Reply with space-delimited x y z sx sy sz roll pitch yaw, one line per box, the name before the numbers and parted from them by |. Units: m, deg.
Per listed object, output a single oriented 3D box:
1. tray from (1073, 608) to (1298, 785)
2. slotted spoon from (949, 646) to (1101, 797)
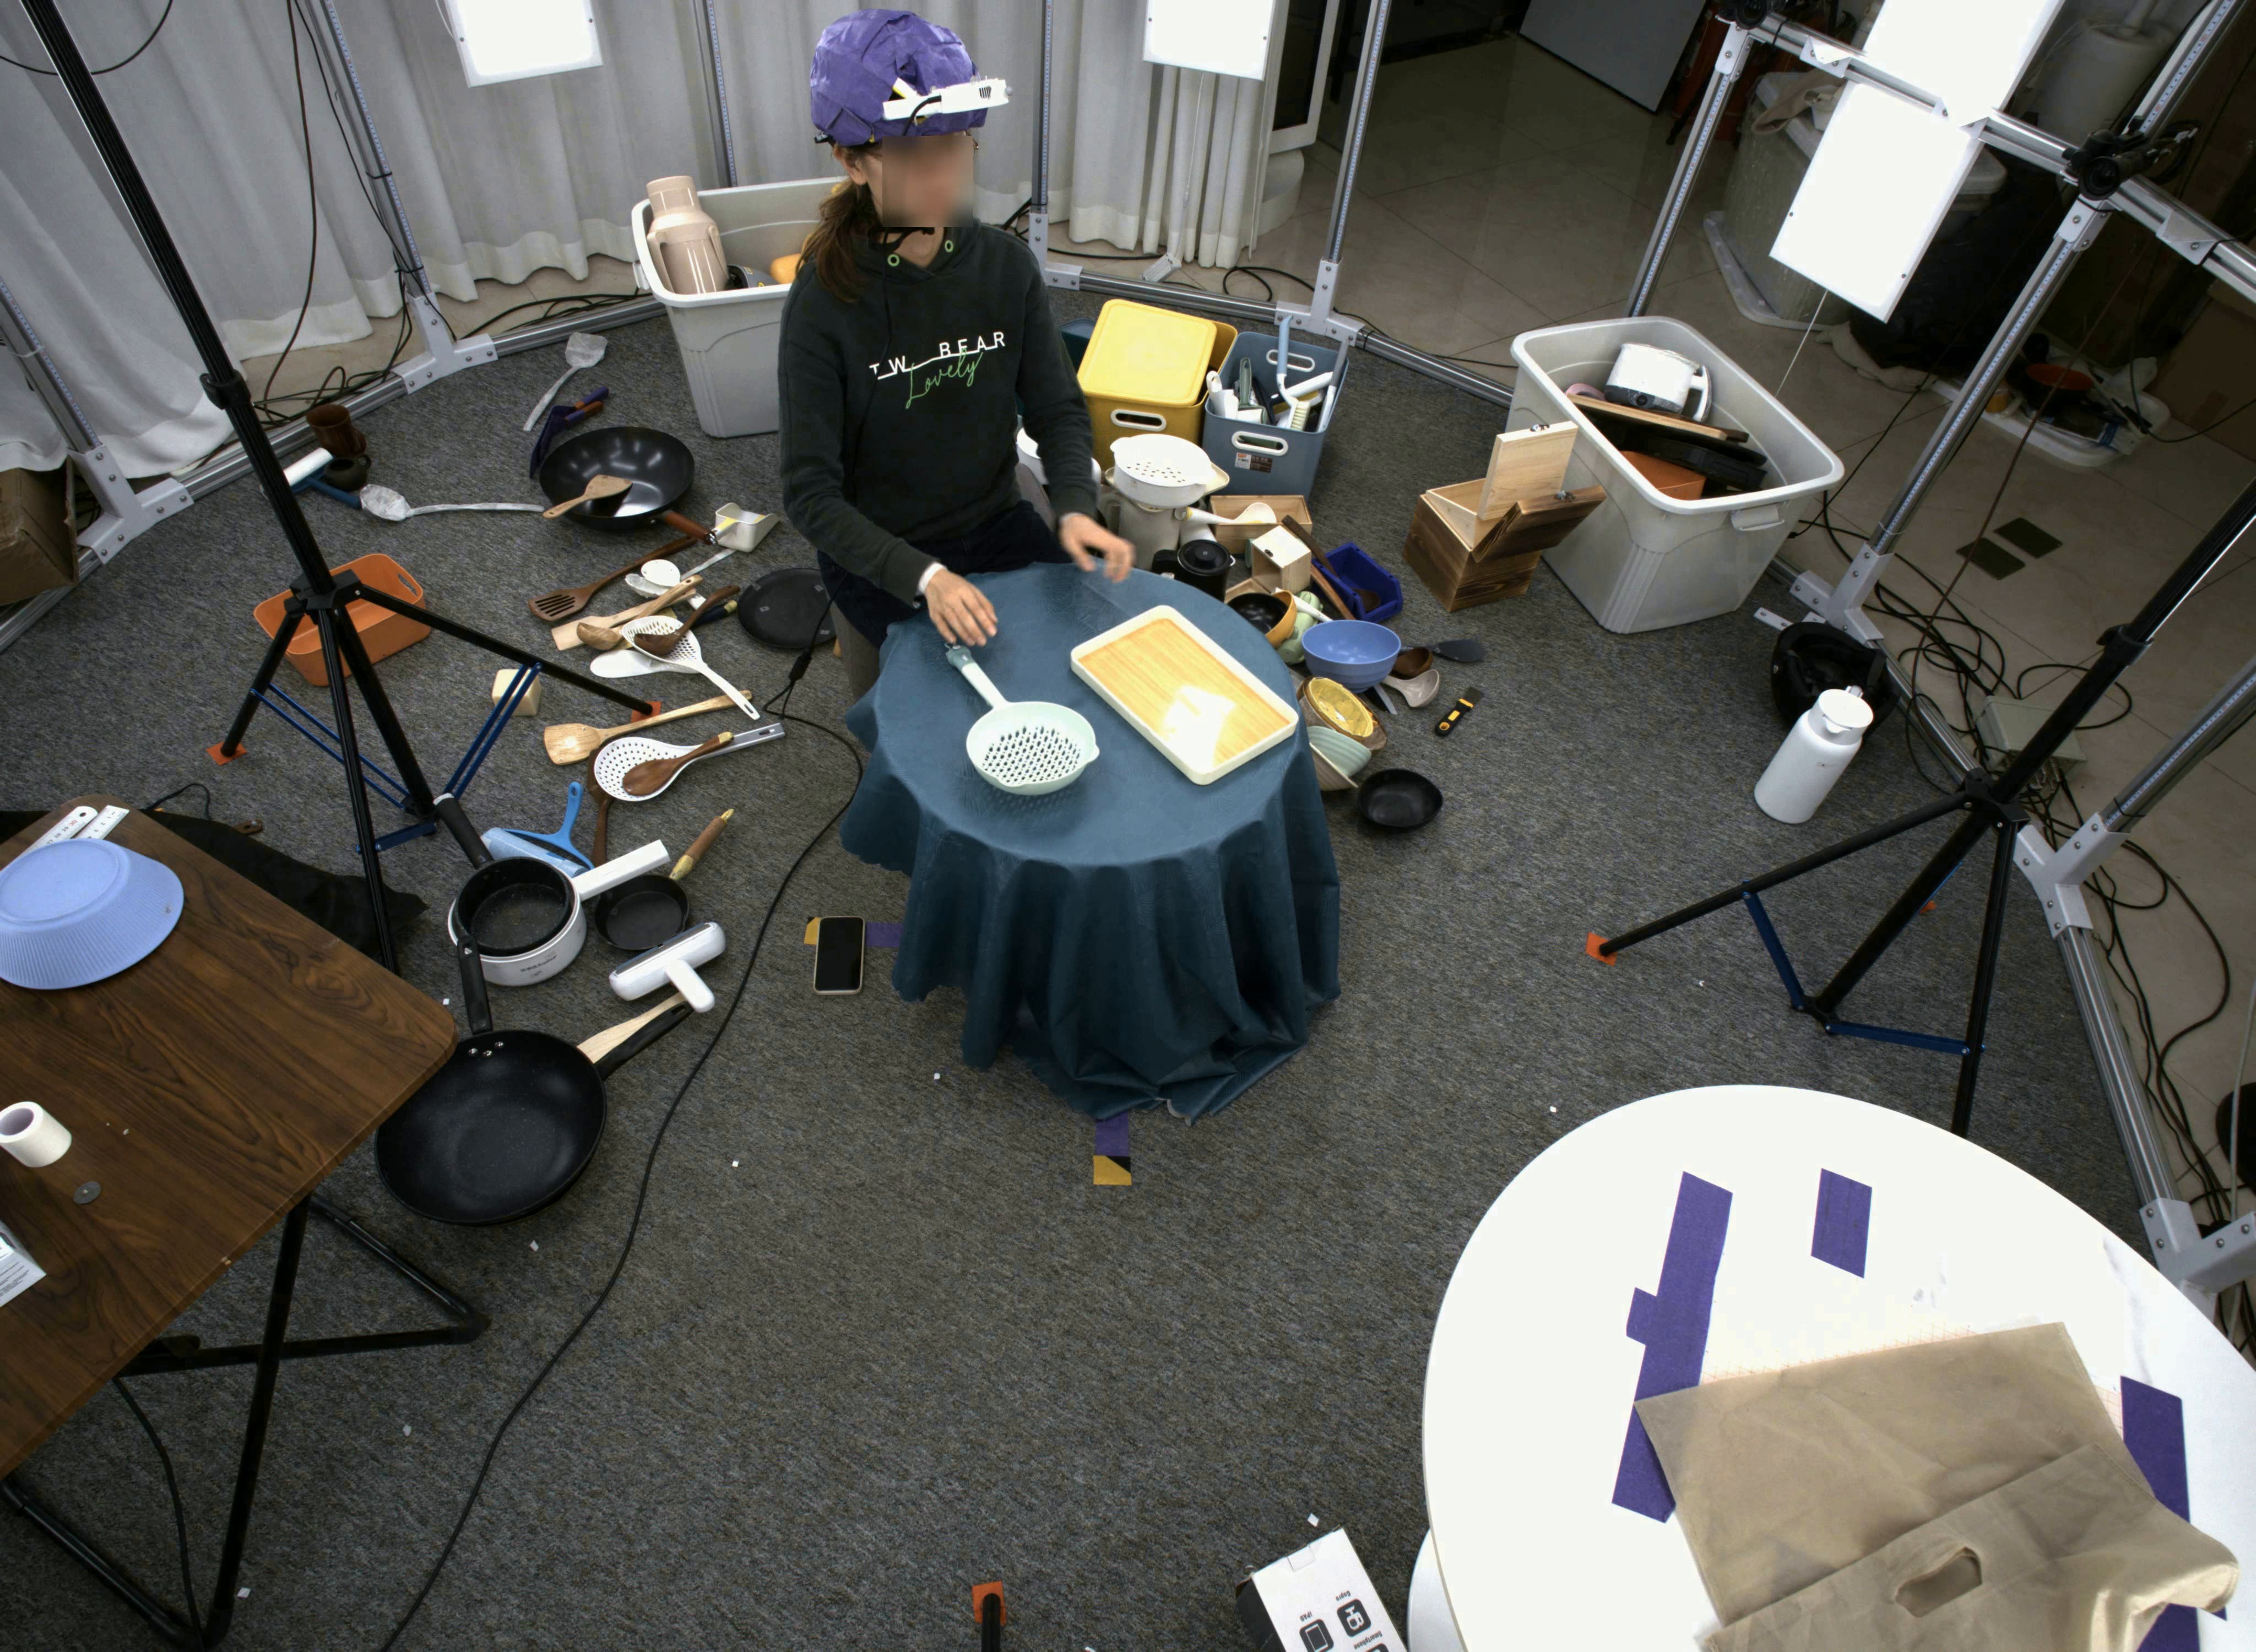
tray | 0.079 -0.192 1.840 0.193 0.027 0.305 -29 57 -26
slotted spoon | -0.173 -0.161 1.770 0.170 0.073 0.367 -19 53 -21
